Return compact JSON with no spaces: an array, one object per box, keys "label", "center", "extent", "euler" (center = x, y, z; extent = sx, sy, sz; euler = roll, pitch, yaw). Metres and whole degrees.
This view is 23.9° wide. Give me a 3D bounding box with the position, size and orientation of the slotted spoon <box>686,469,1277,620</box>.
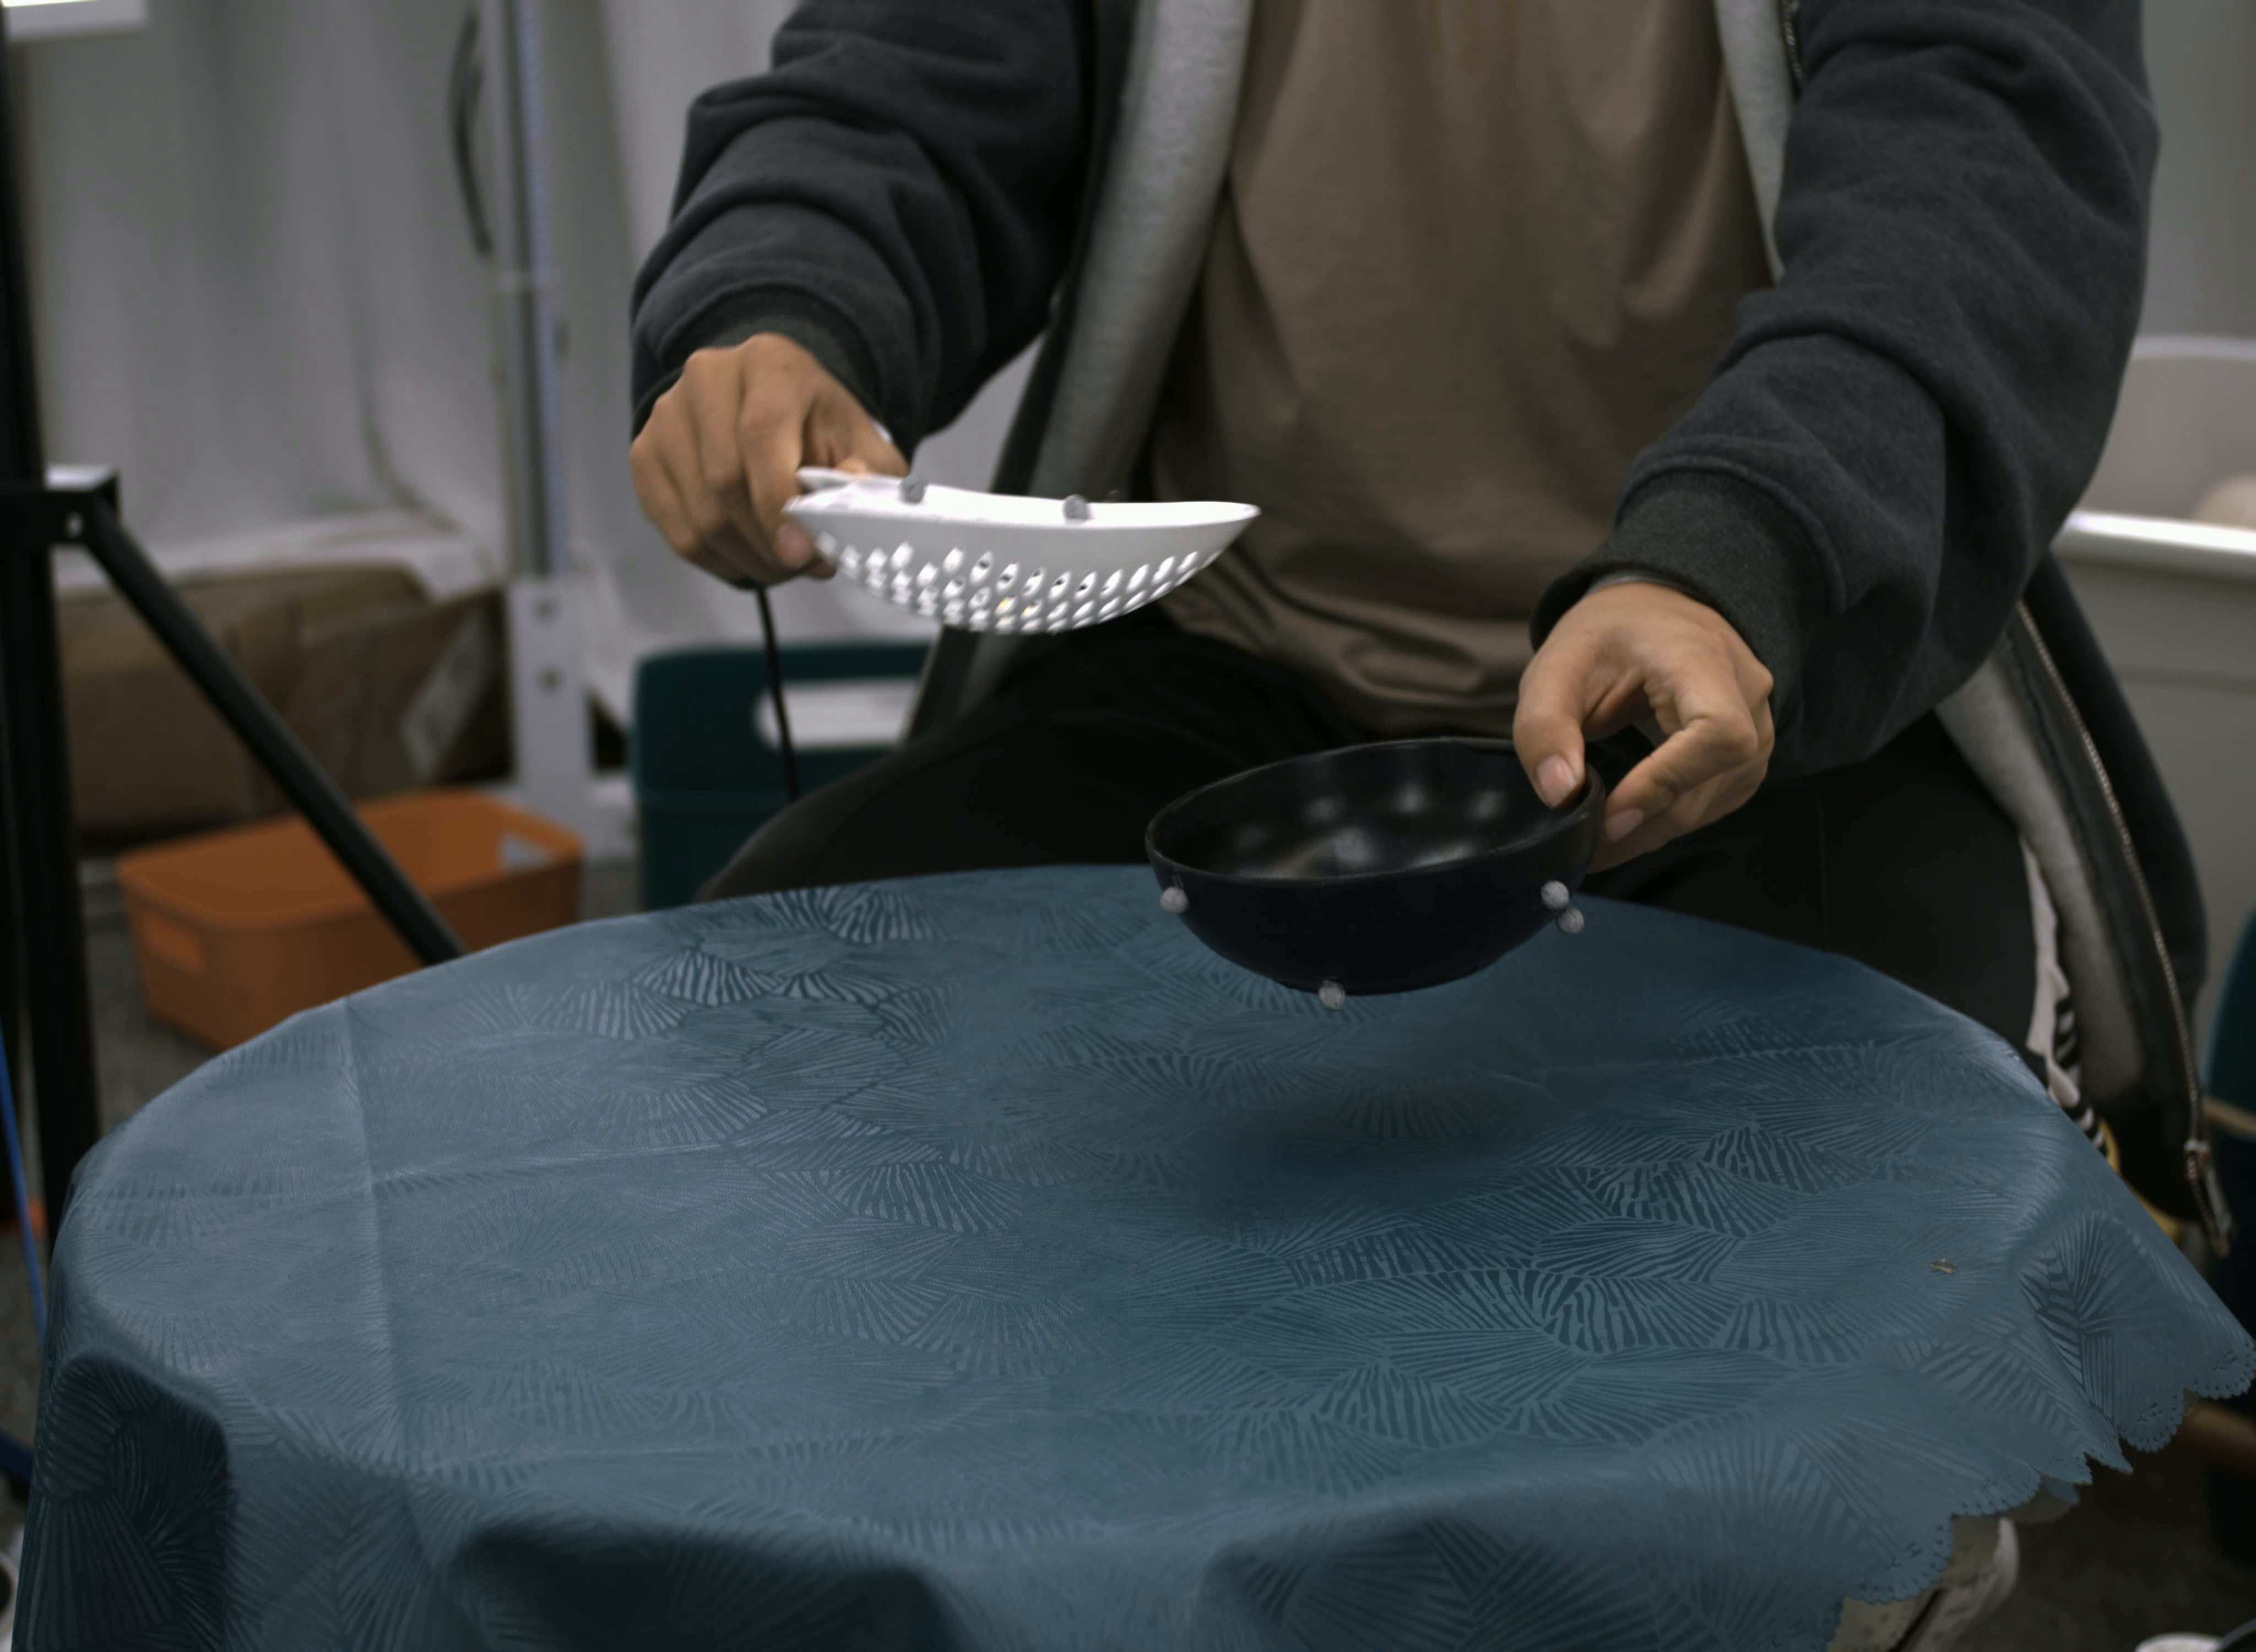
[{"label":"slotted spoon","center":[-0.069,-0.096,1.646],"extent":[0.134,0.050,0.354],"euler":[-1,9,-22]}]
